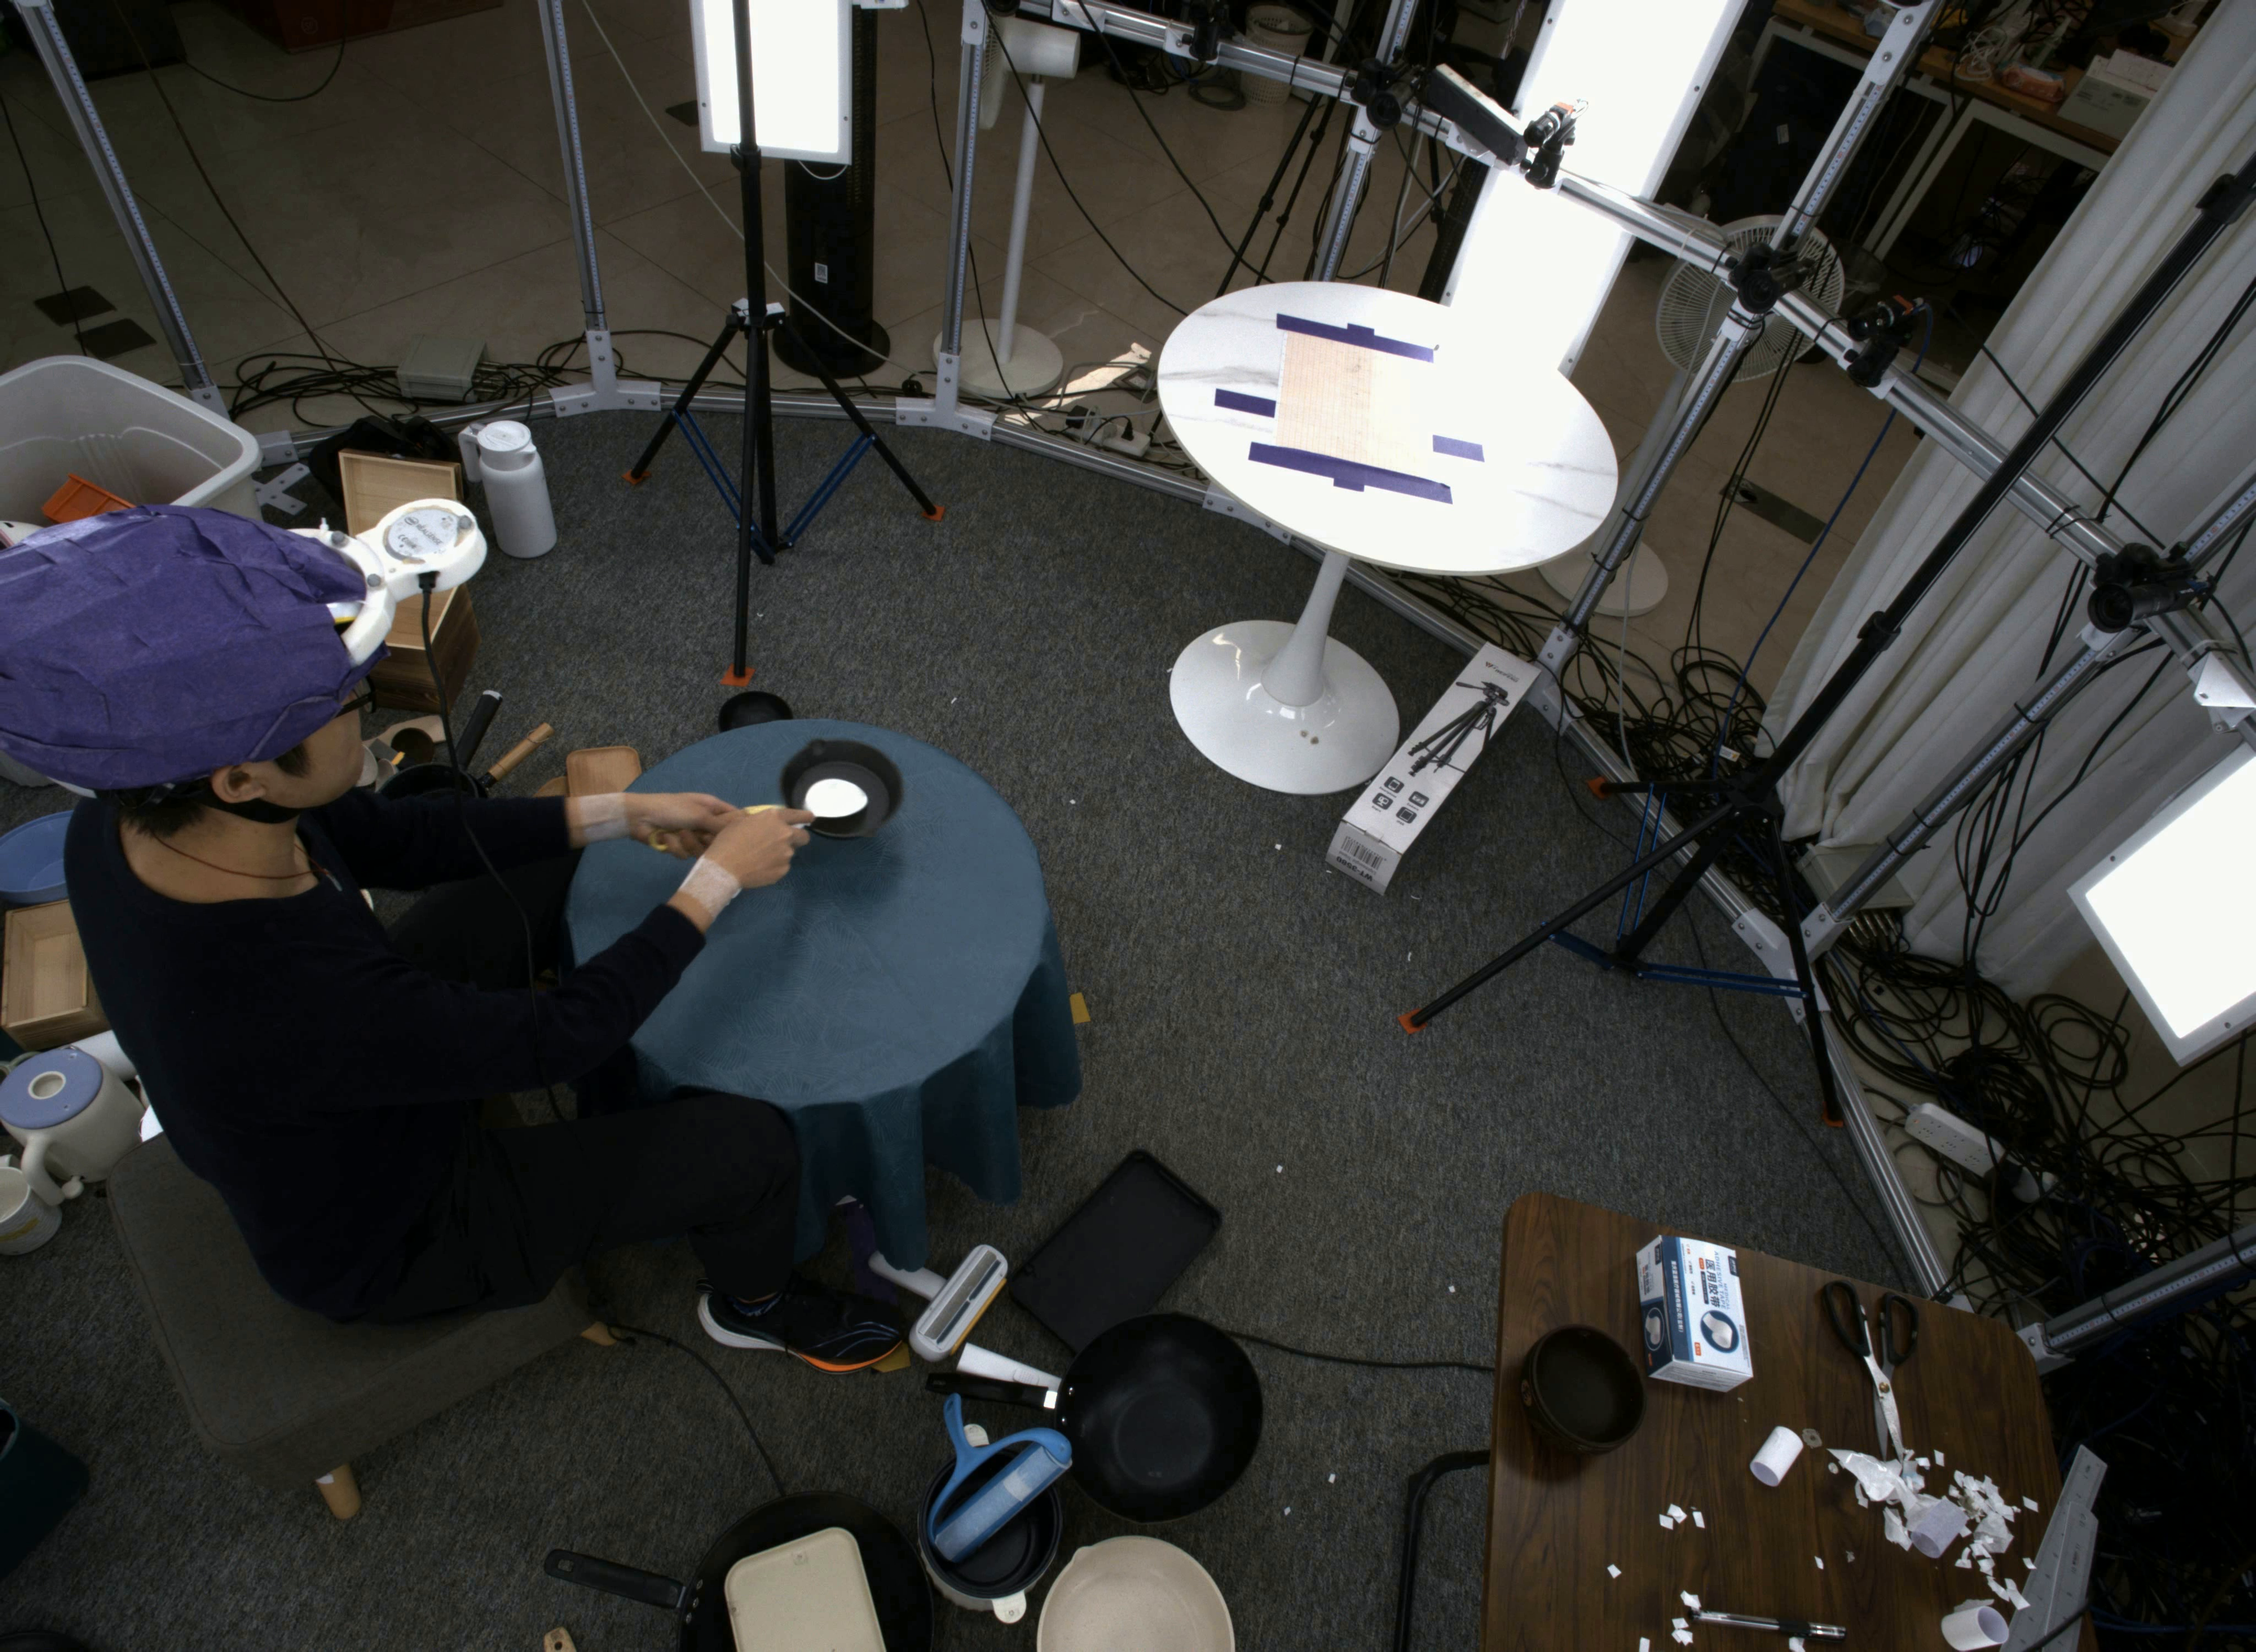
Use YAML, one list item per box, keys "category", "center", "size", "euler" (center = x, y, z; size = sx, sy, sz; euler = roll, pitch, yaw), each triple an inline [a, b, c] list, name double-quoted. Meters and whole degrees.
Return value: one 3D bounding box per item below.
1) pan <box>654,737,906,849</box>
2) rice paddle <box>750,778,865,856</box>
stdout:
- category: "pan"
  center: [-0.431, -0.023, 1.612]
  size: [0.327, 0.050, 0.165]
  euler: [-18, 63, -32]
- category: "rice paddle"
  center: [-0.392, -0.018, 1.598]
  size: [0.068, 0.030, 0.205]
  euler: [33, 30, 8]
